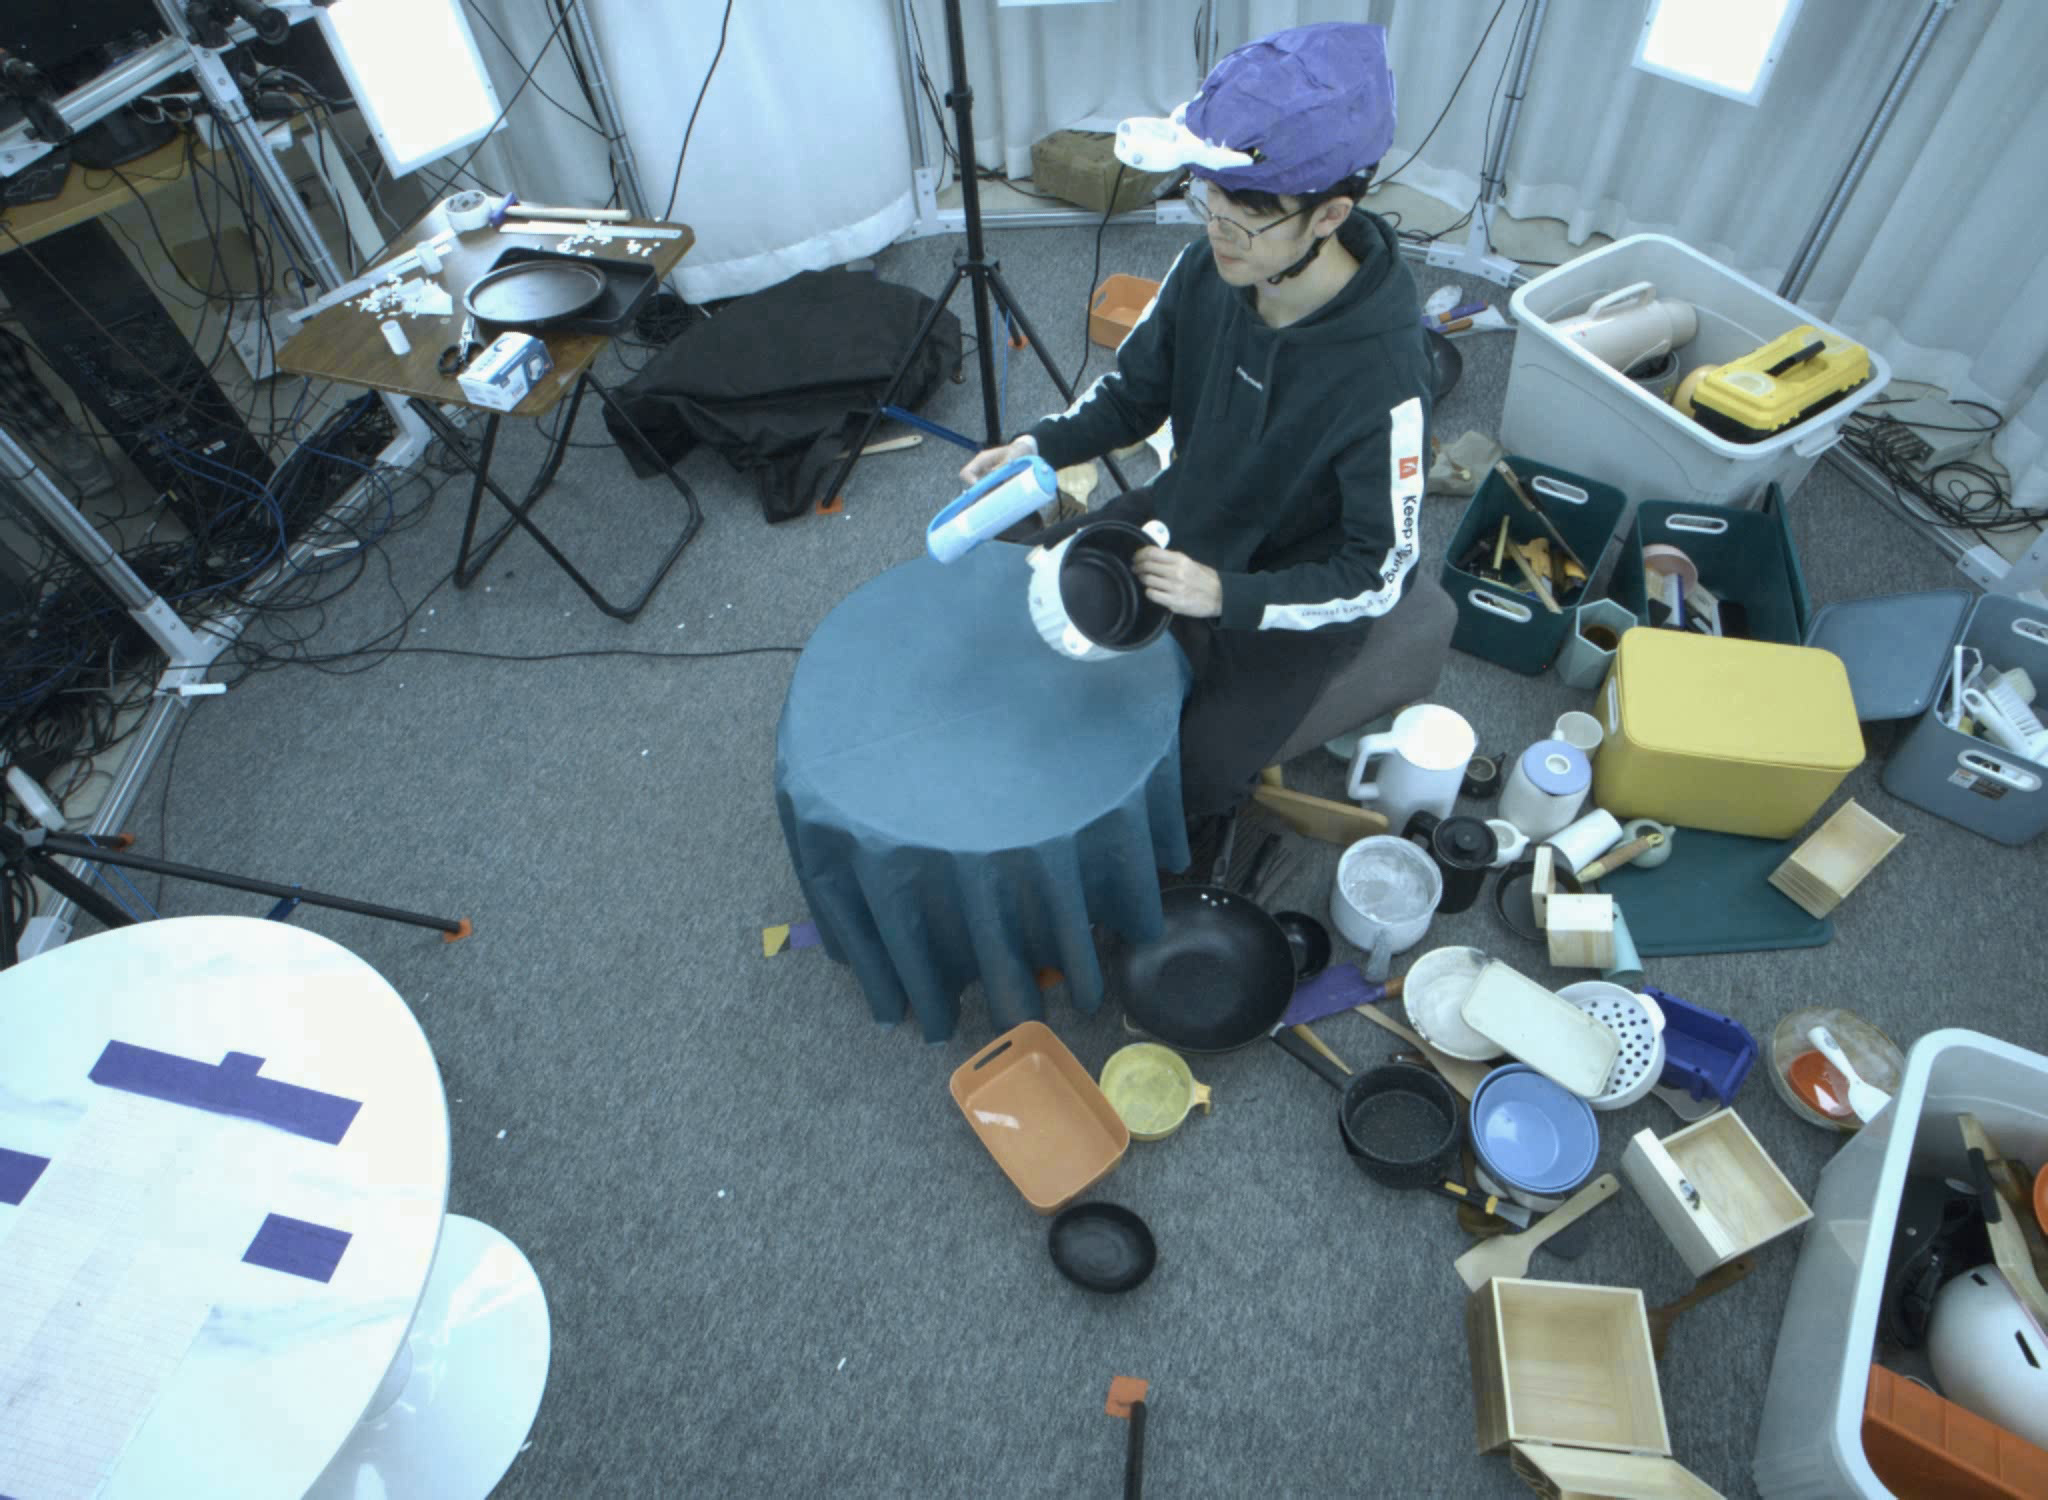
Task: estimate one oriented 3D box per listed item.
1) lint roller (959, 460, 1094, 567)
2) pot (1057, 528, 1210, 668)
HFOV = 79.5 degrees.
[{"bbox_3d":[0.008,-0.361,1.763,0.226,0.069,0.179,-29,28,27],"label":"lint roller"},{"bbox_3d":[0.140,-0.207,1.703,0.193,0.140,0.241,44,69,-20],"label":"pot"}]
